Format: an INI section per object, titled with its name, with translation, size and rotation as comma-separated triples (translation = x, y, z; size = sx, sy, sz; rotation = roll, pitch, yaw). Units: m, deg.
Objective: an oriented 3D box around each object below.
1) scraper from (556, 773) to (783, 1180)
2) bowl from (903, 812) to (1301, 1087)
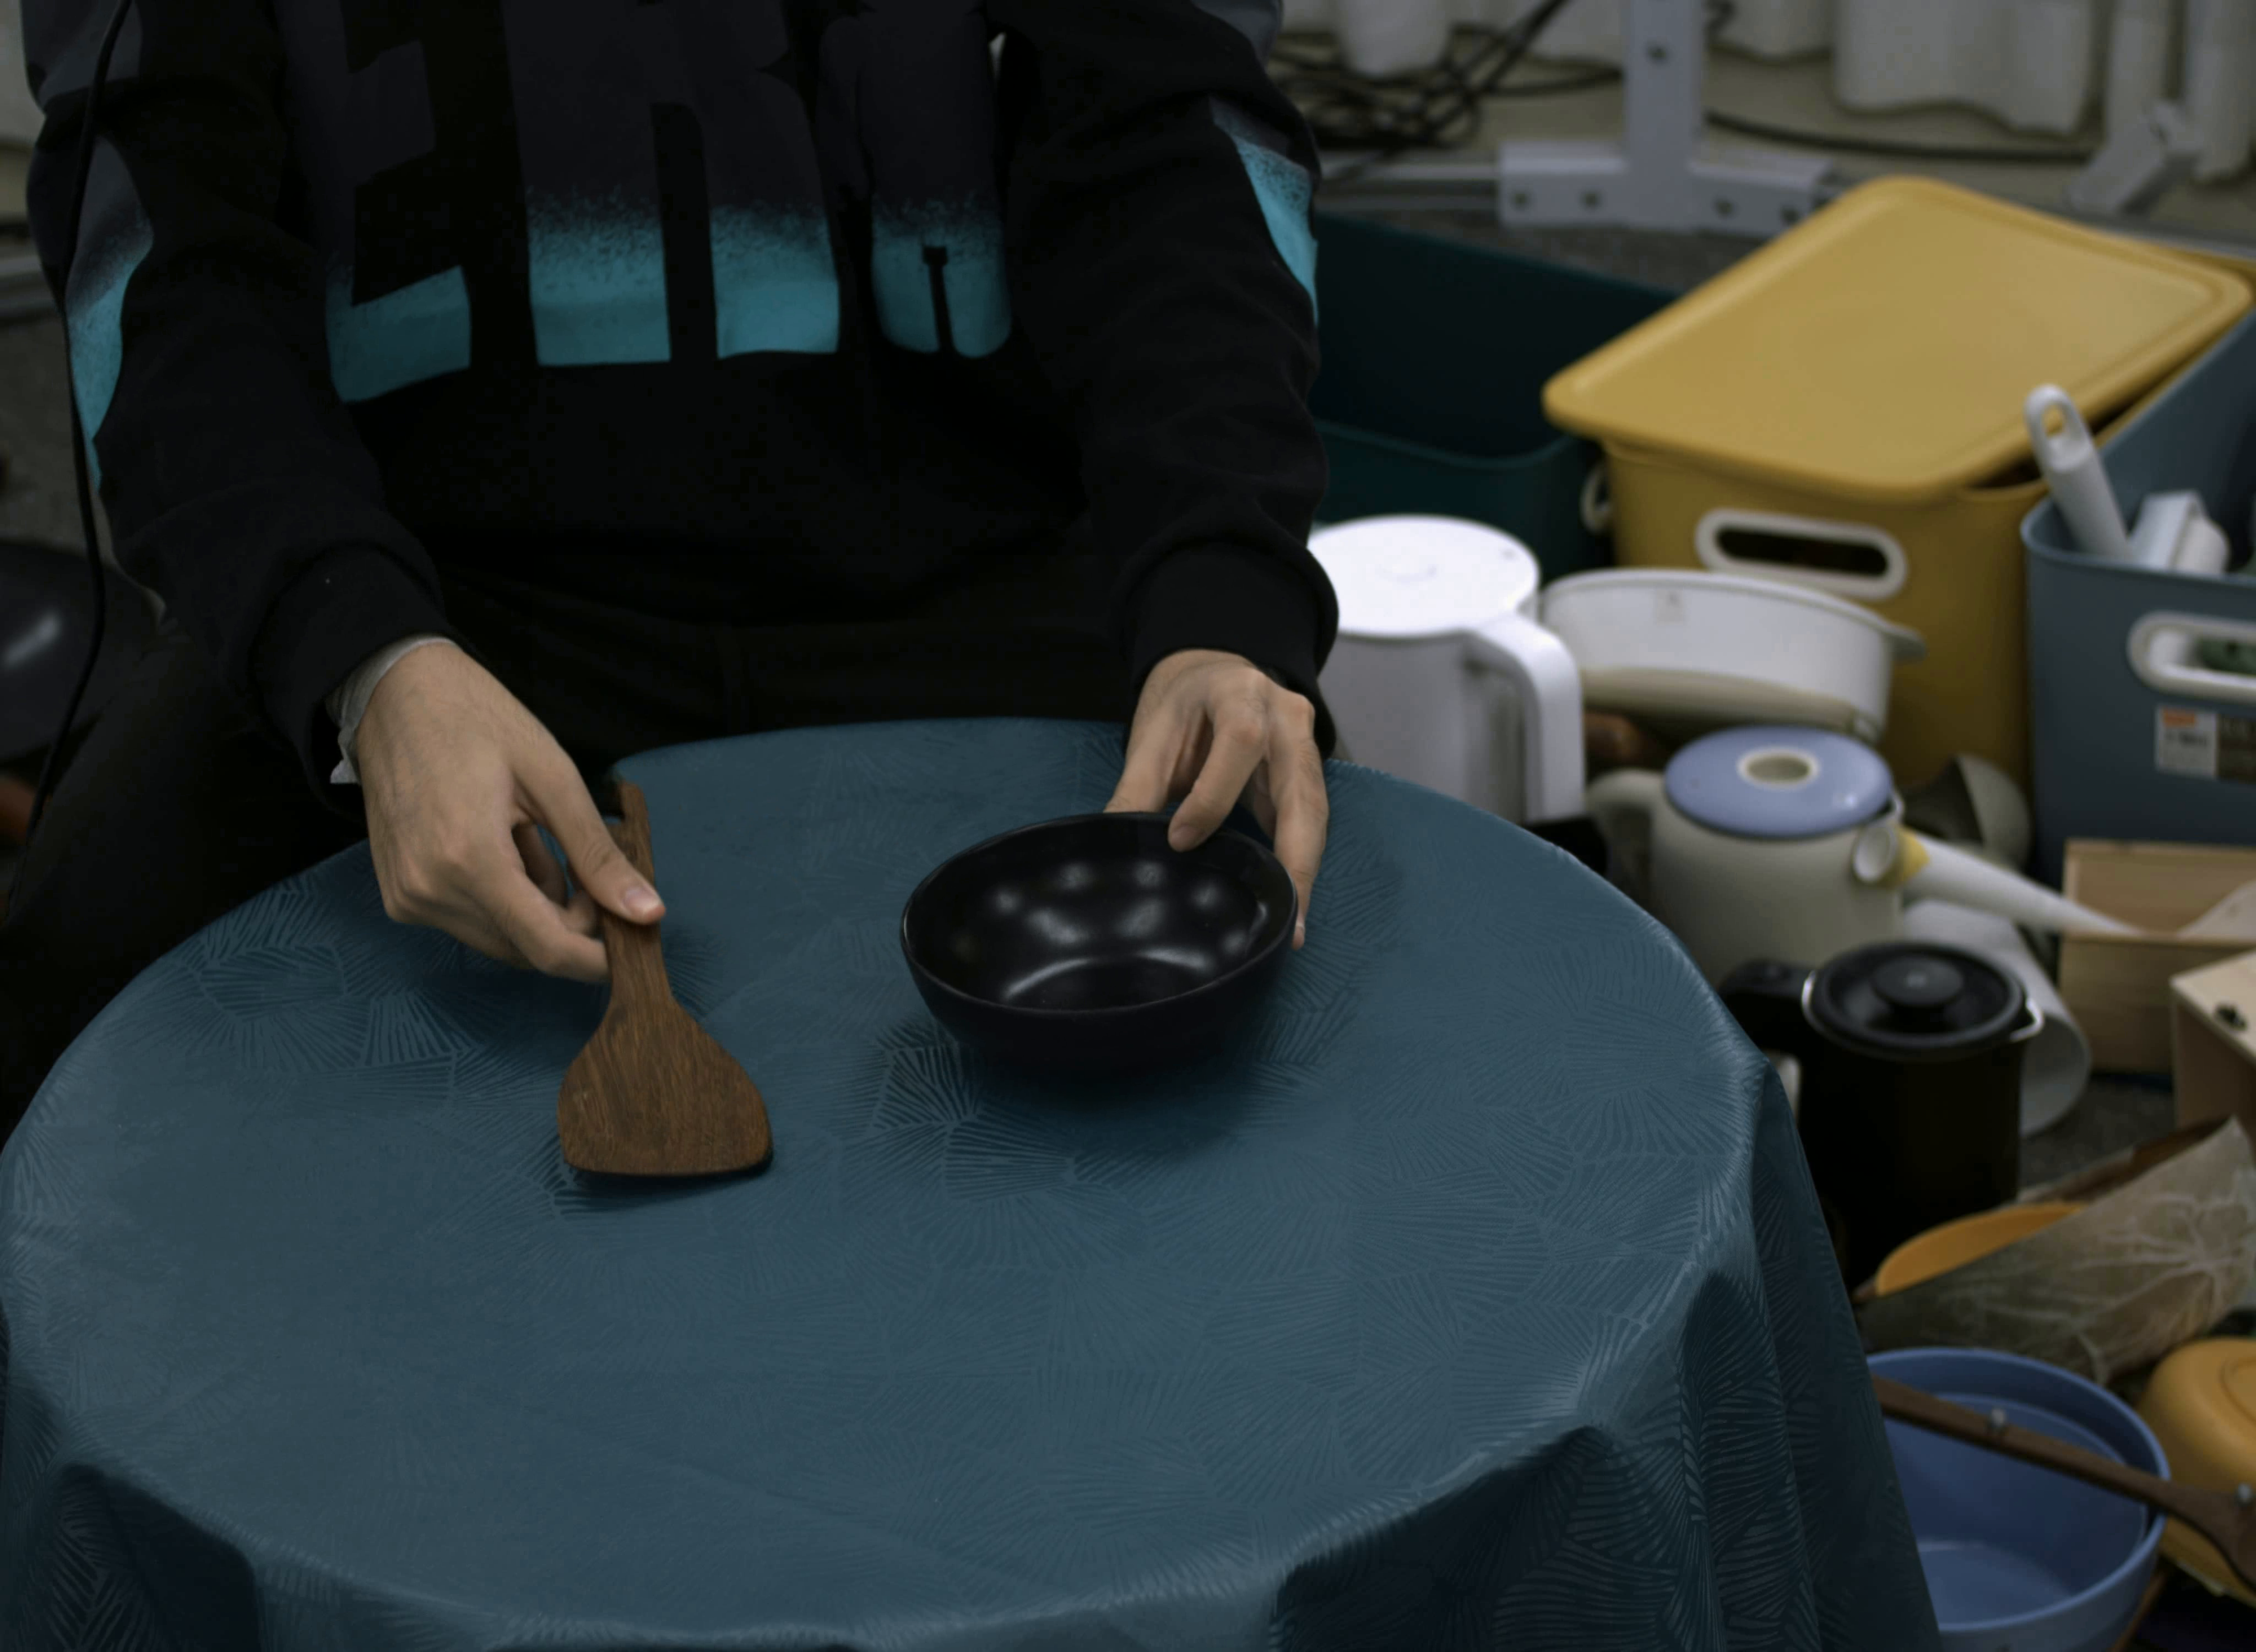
[scraper]
translation = -0.169, 0.051, 1.952
size = 0.076, 0.010, 0.215
rotation = 1, 40, -14
[bowl]
translation = -0.006, 0.051, 1.945
size = 0.139, 0.049, 0.142
rotation = -6, 29, 4
